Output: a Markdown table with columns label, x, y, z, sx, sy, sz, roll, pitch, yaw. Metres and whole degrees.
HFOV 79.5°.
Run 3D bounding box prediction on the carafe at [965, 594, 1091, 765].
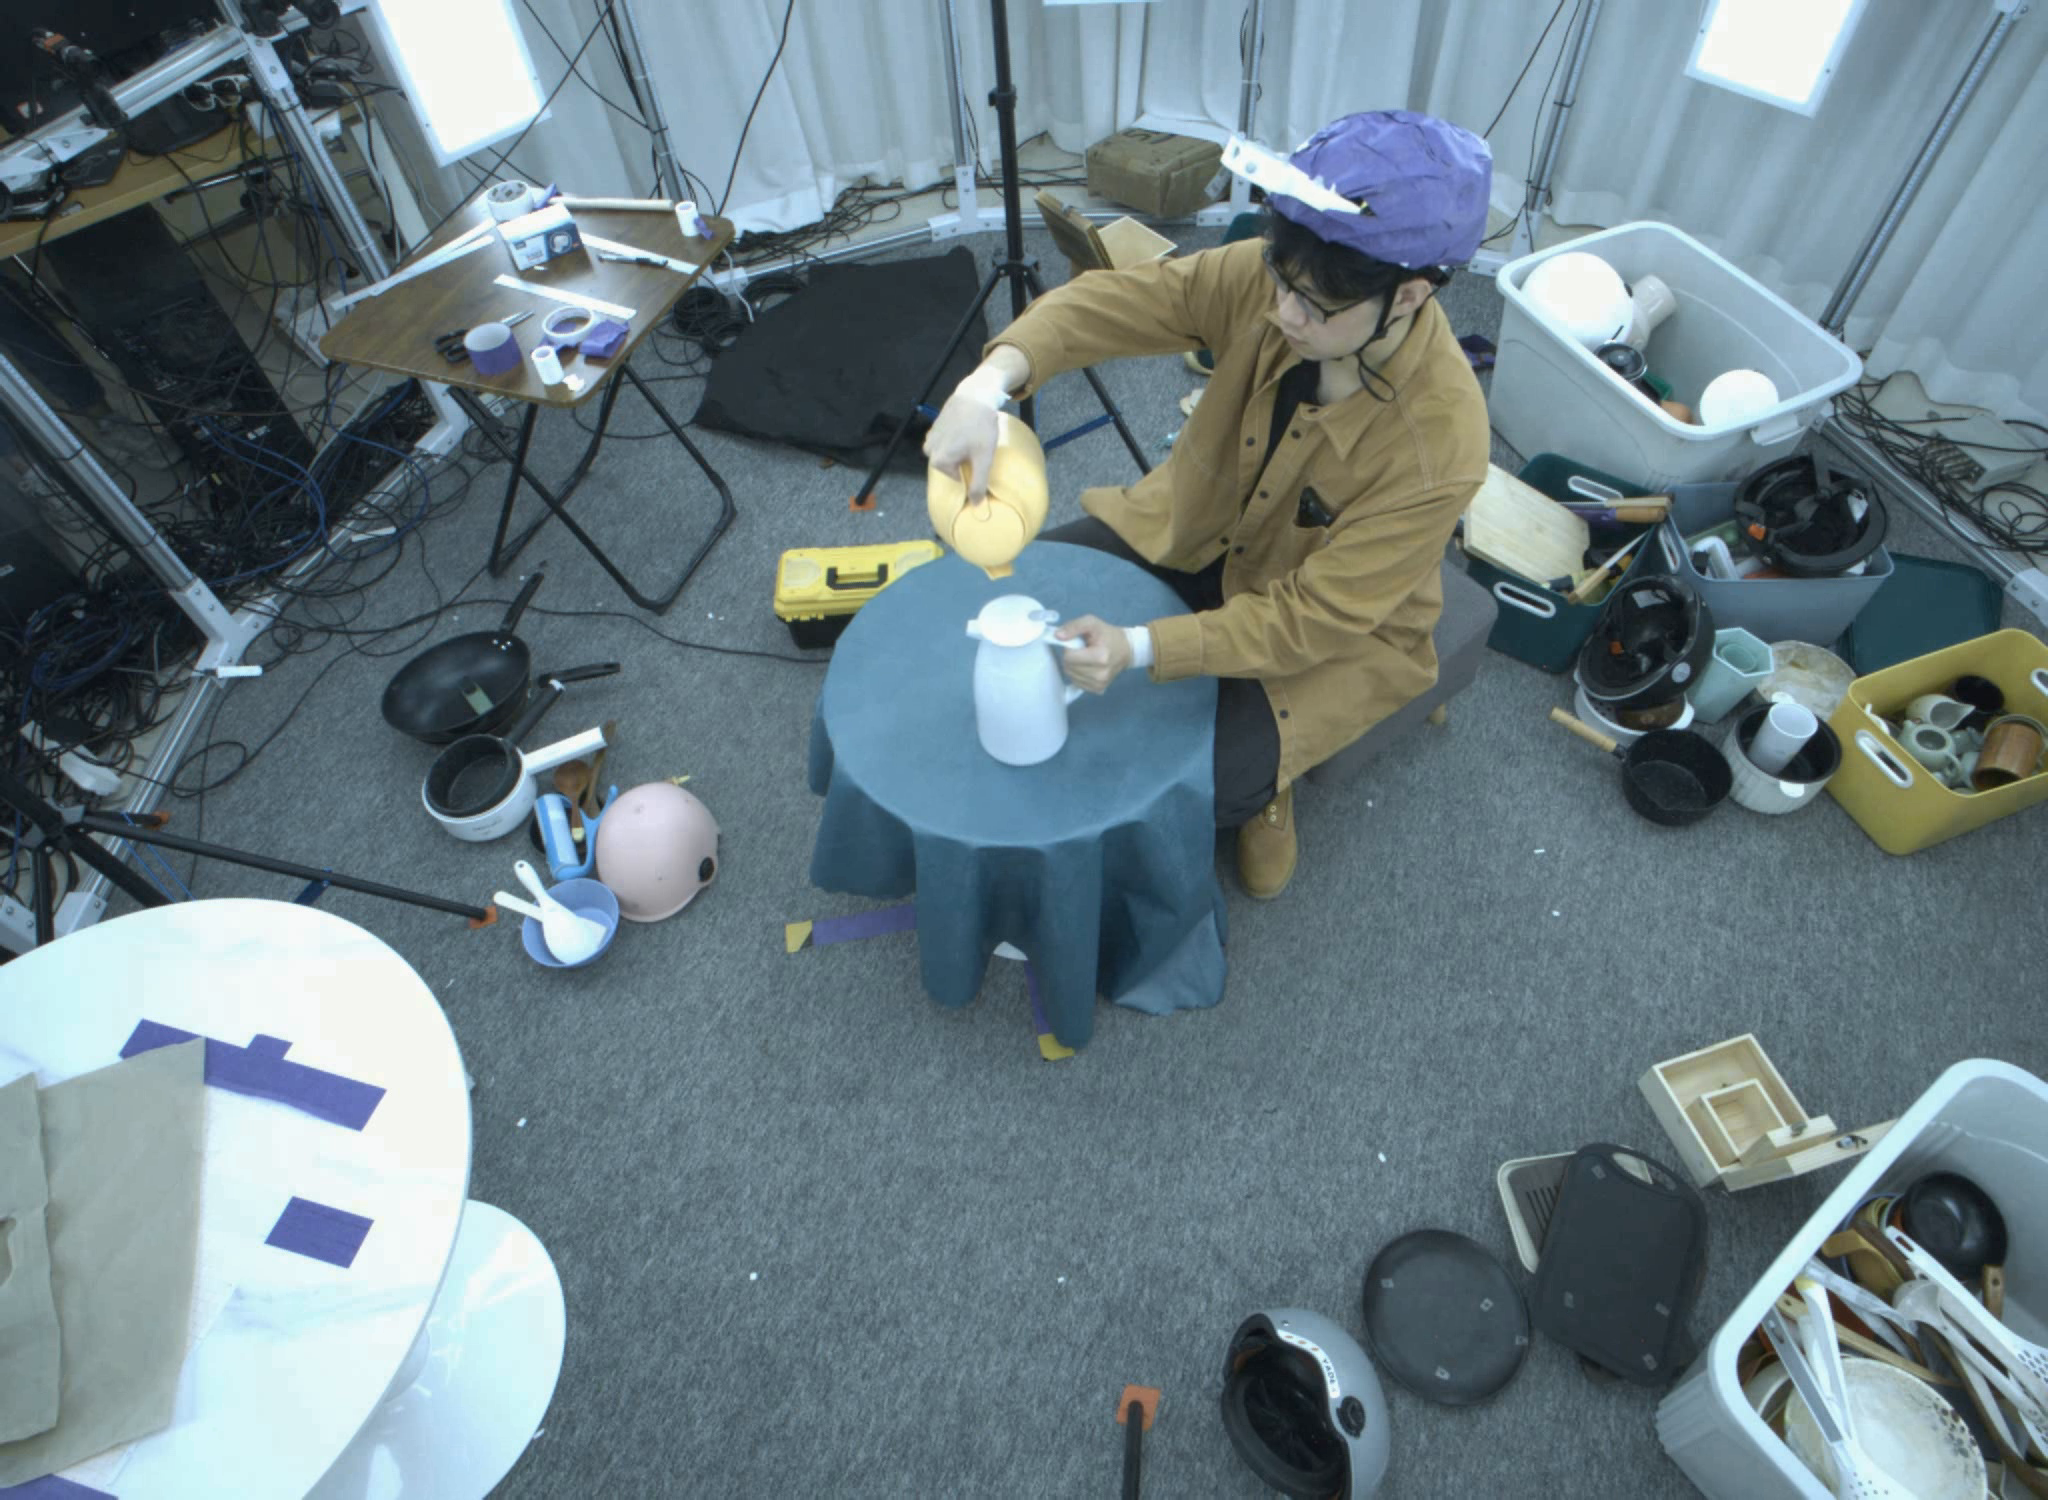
| label | x | y | z | sx | sy | sz | roll | pitch | yaw |
| --- | --- | --- | --- | --- | --- | --- | --- | --- | --- |
| carafe | 0.009 | -0.103 | 1.703 | 0.167 | 0.251 | 0.131 | 1 | 54 | 3 |

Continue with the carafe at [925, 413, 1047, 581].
| label | x | y | z | sx | sy | sz | roll | pitch | yaw |
| --- | --- | --- | --- | --- | --- | --- | --- | --- | --- |
| carafe | -0.053 | -0.353 | 1.600 | 0.163 | 0.205 | 0.257 | -12 | 37 | 2 |
